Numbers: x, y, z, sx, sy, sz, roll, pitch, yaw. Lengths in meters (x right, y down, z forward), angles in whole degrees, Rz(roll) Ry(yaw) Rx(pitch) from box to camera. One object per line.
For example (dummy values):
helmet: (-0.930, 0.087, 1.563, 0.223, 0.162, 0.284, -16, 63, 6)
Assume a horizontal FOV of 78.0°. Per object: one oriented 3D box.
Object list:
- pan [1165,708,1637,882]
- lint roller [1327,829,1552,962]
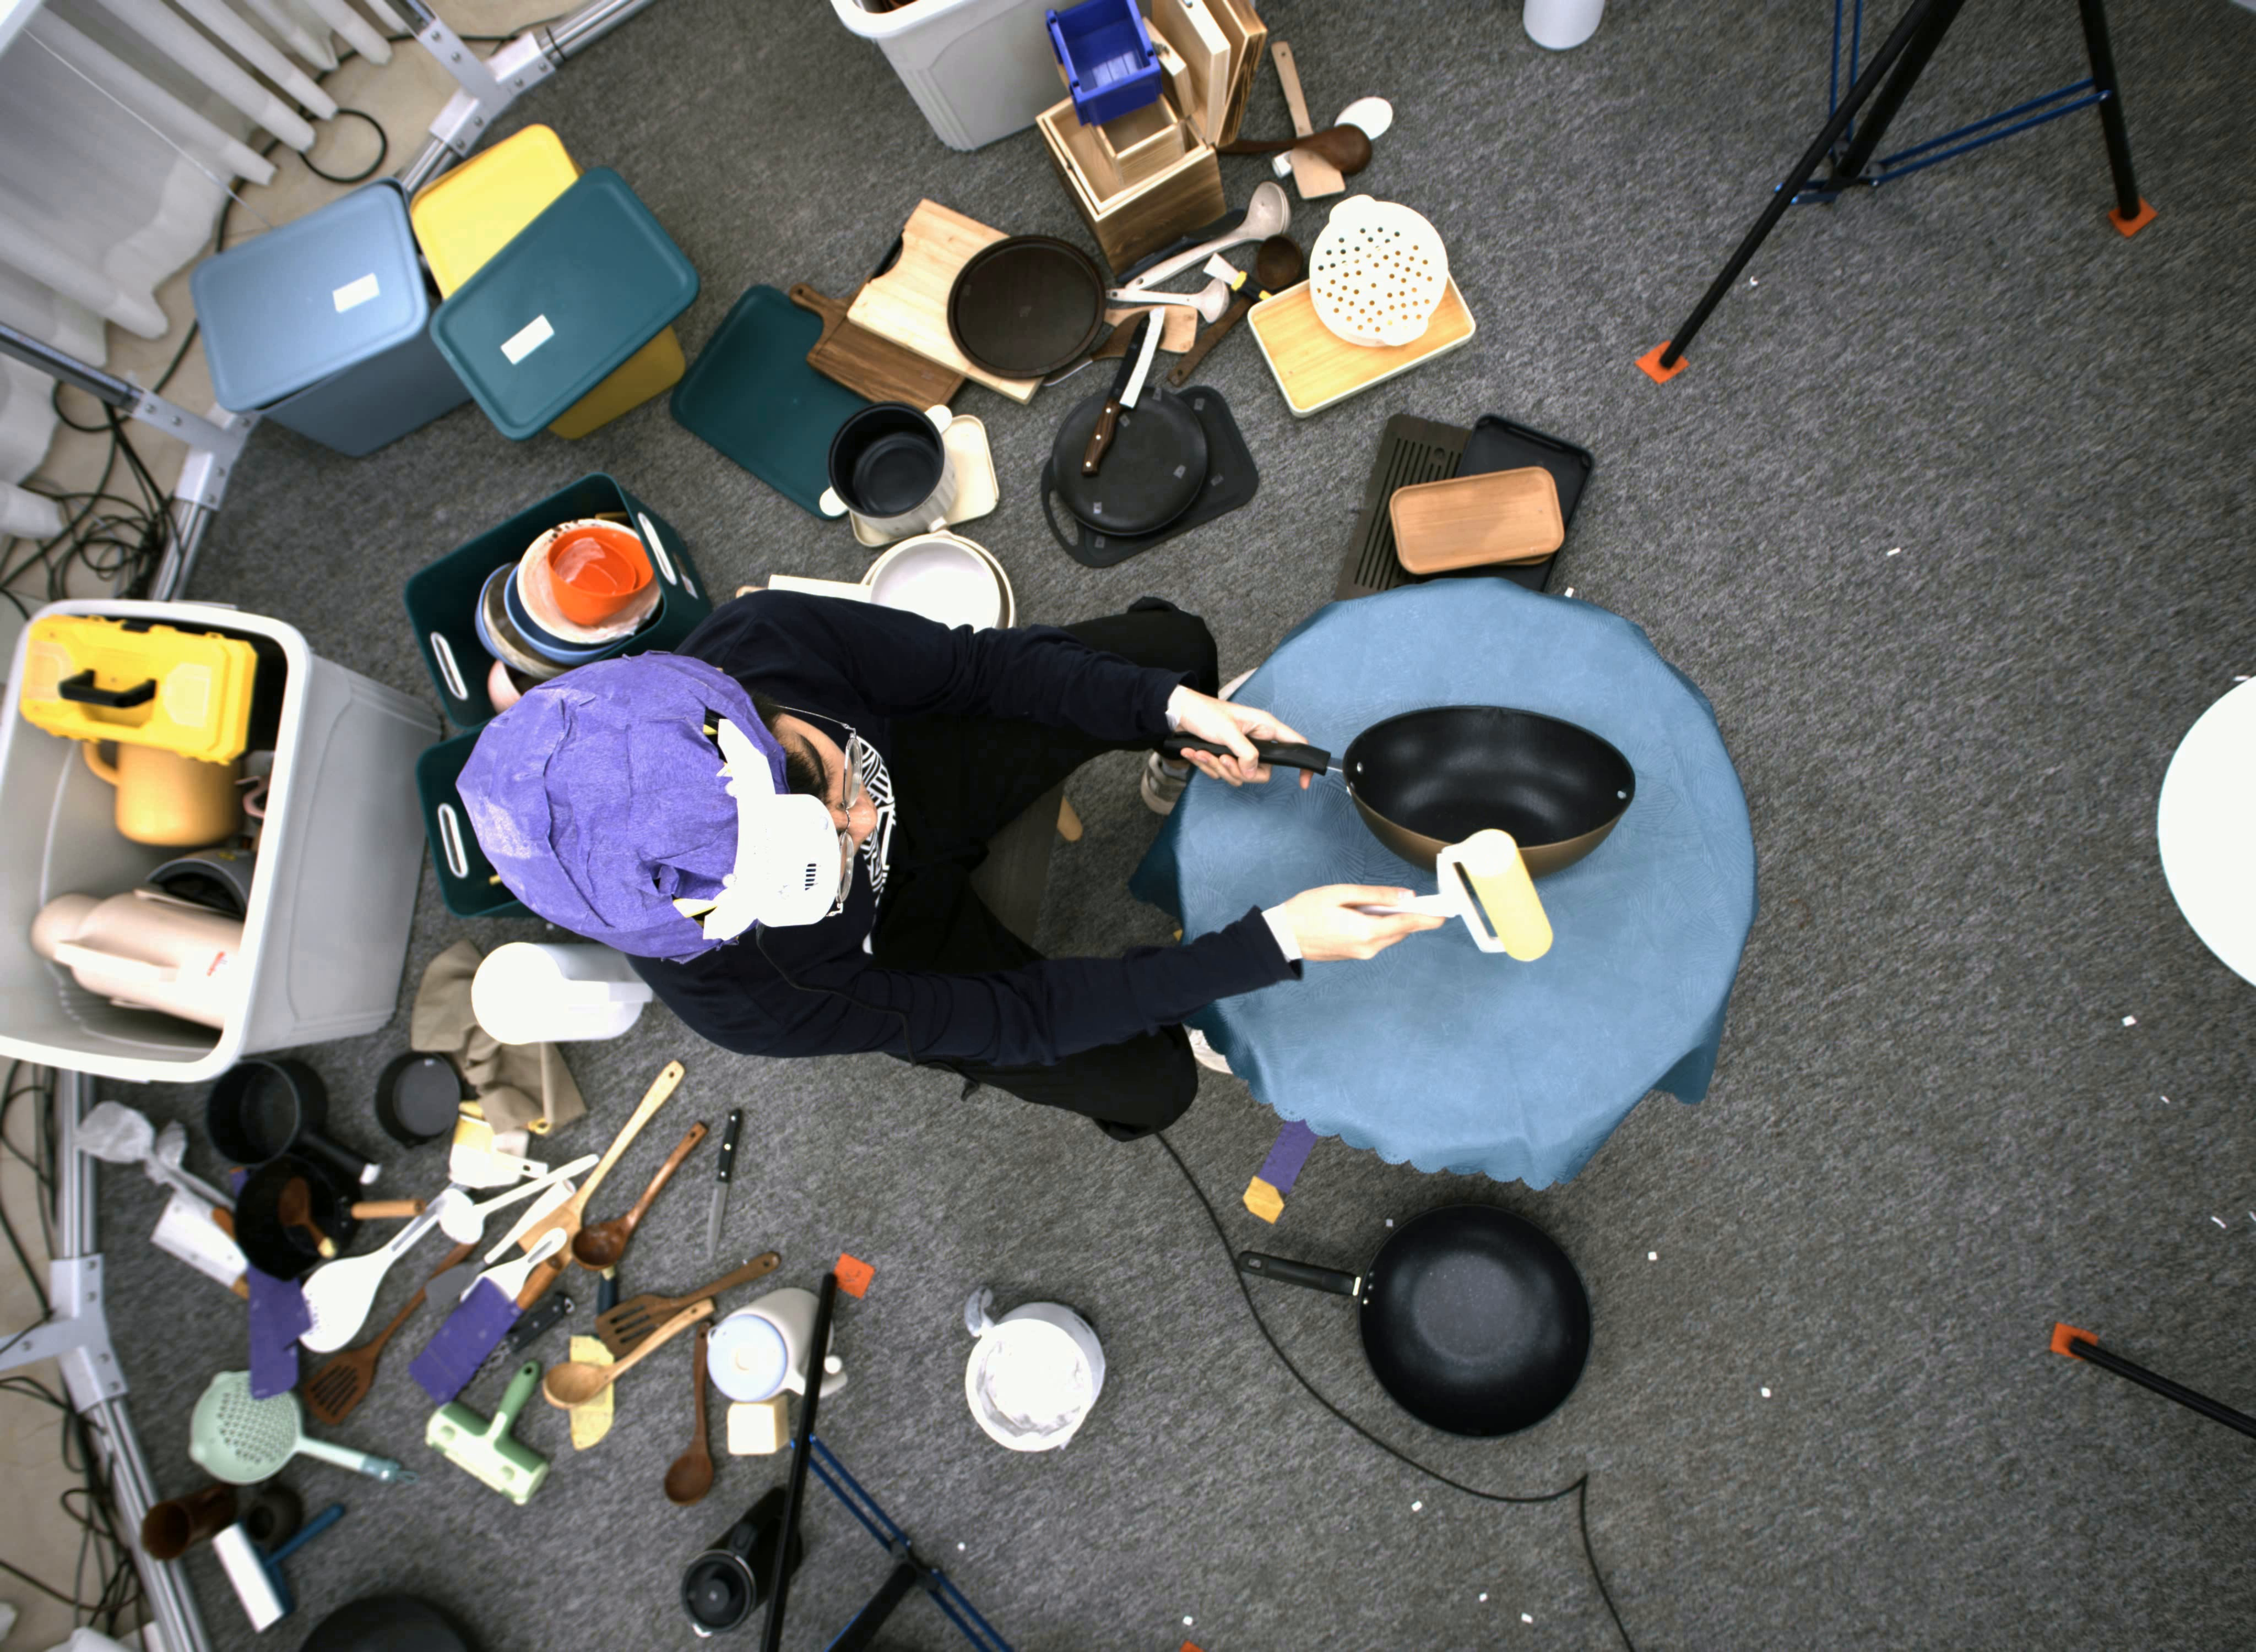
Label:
pan: (0.261, -0.033, 1.373, 0.465, 0.281, 0.089, 7, 123, 17)
lint roller: (0.275, 0.082, 1.266, 0.194, 0.177, 0.050, -17, 51, 23)
